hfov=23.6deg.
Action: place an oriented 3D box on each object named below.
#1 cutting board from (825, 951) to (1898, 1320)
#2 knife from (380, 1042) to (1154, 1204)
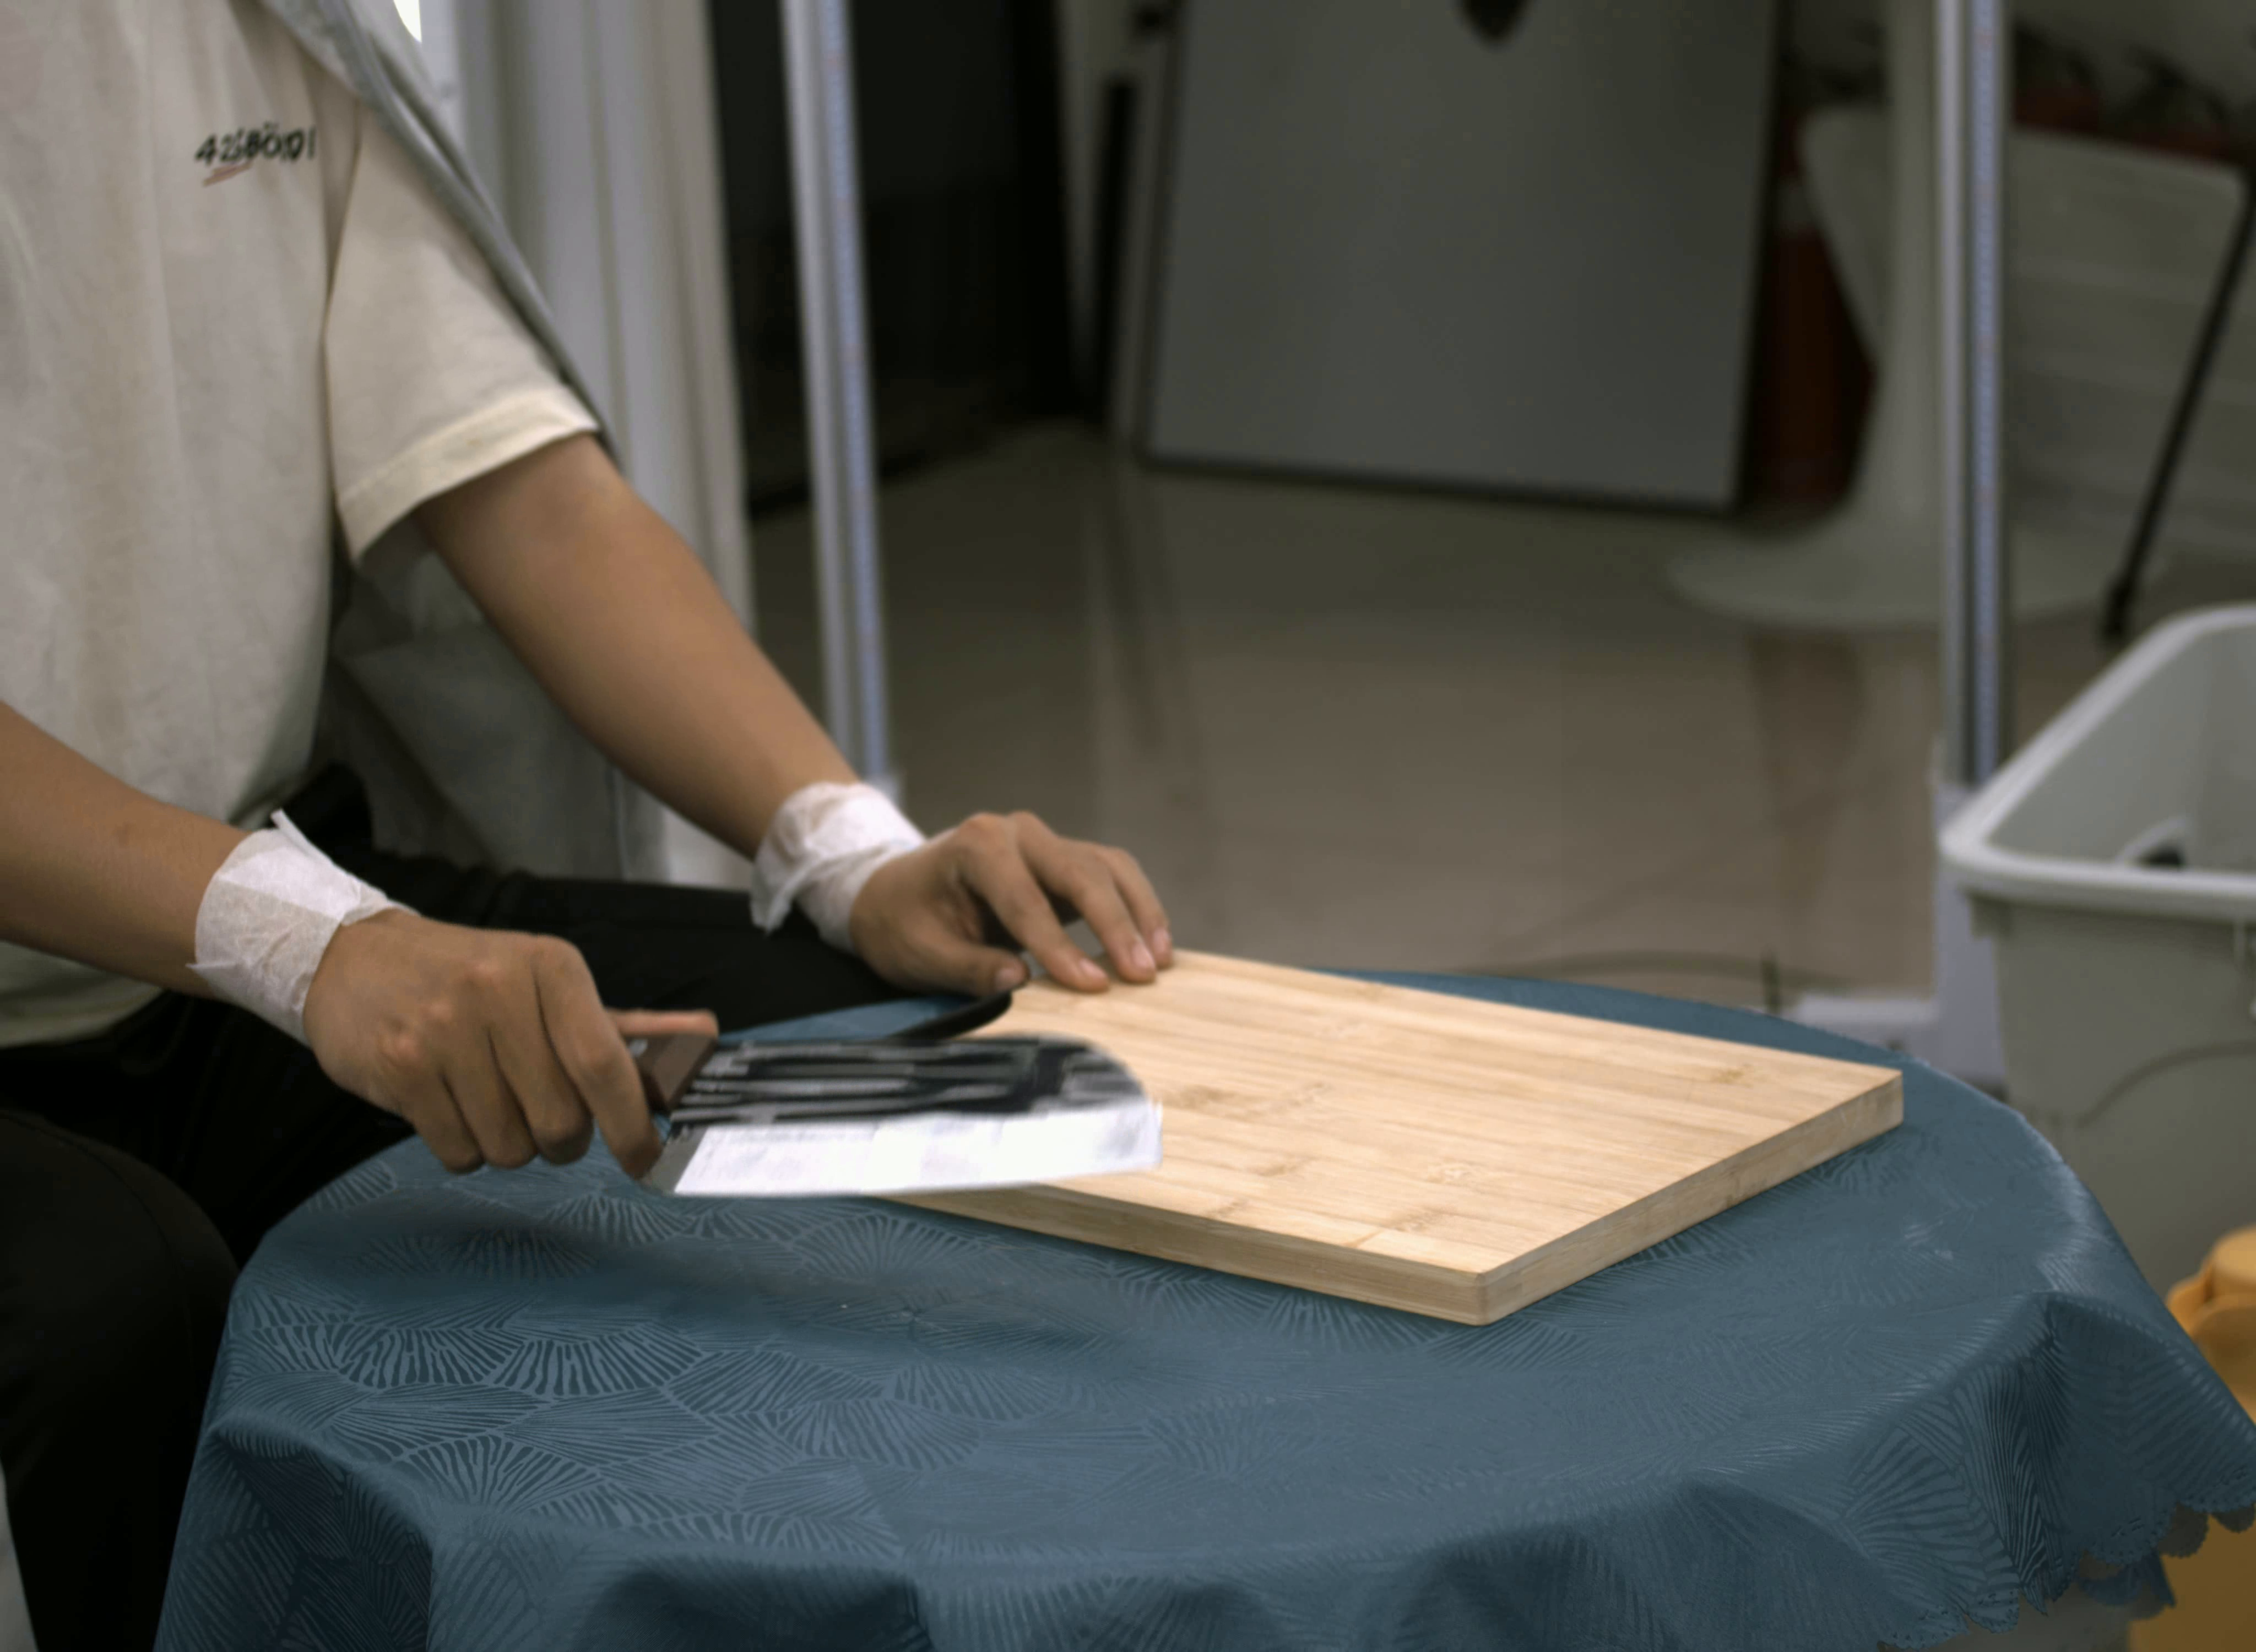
[{"bbox_3d":[0.052,0.099,1.818,0.351,0.024,0.246,7,17,40],"label":"cutting board"},{"bbox_3d":[-0.119,0.094,1.700,0.300,0.024,0.068,-1,42,28],"label":"knife"}]
